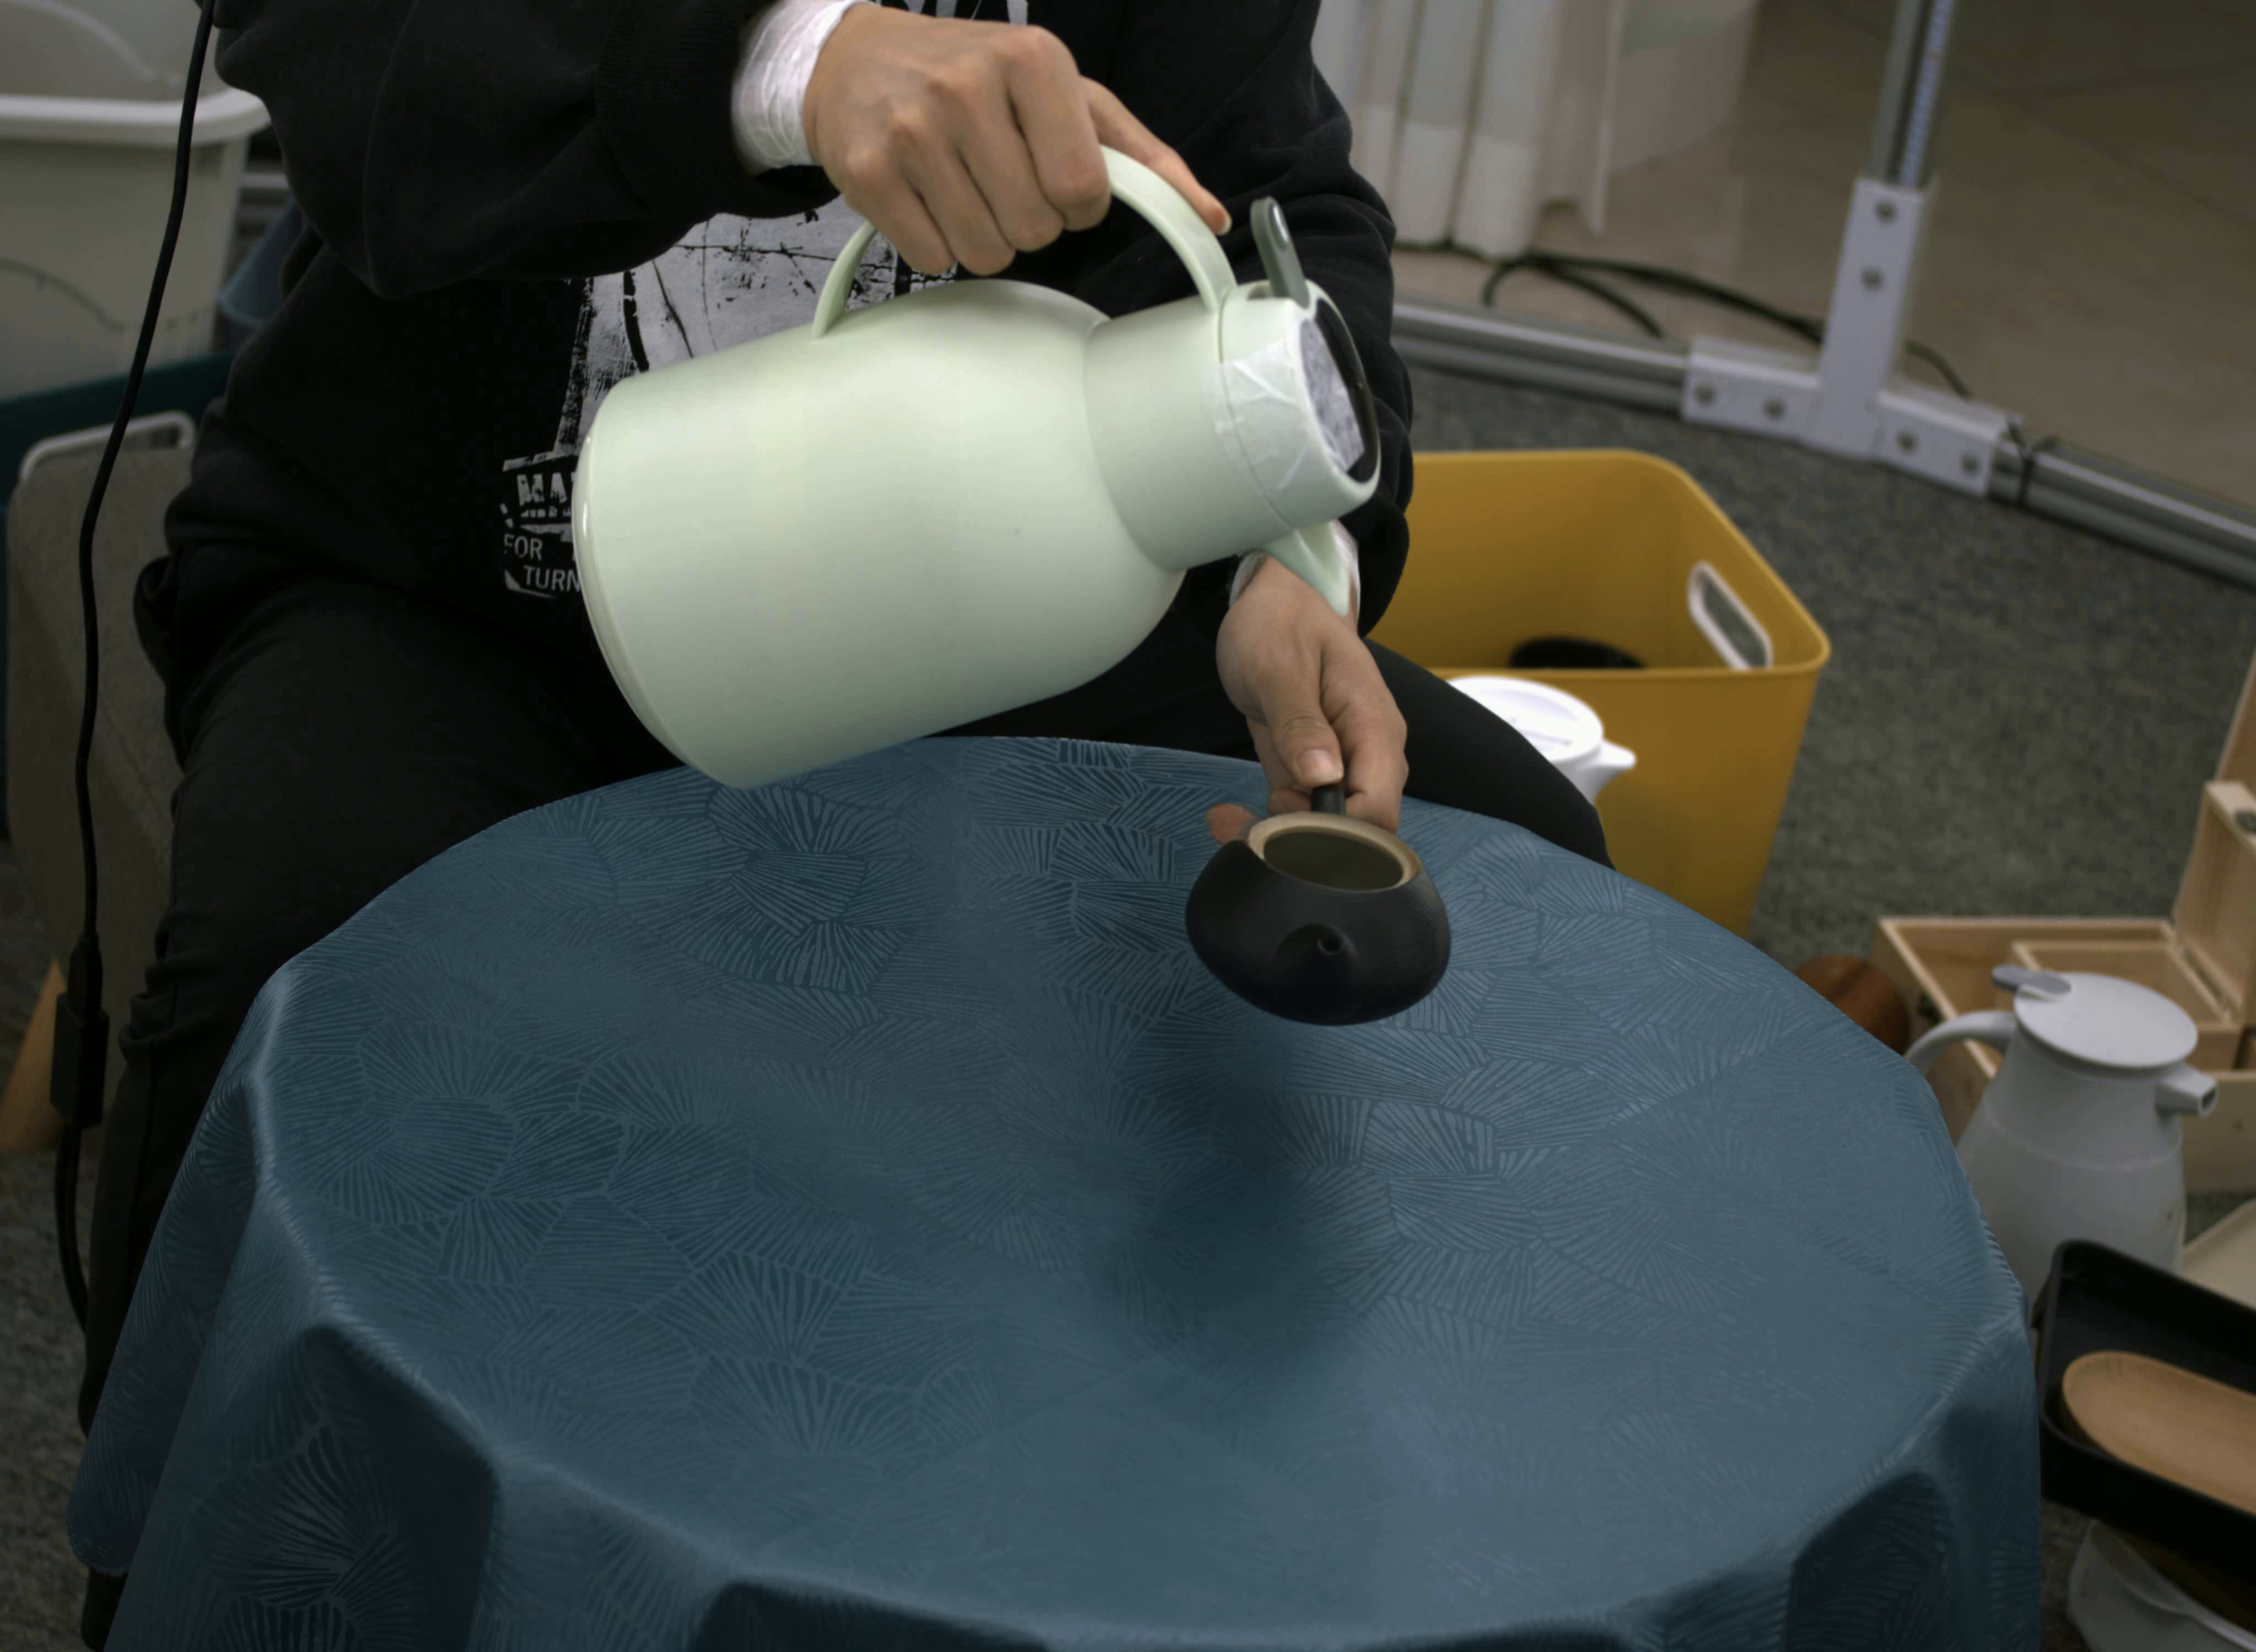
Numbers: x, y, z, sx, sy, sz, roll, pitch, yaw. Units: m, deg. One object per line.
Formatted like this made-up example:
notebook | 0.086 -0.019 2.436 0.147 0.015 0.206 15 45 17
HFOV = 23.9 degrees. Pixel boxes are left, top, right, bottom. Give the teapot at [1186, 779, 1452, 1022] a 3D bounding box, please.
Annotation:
teapot | 0.065 0.030 1.792 0.090 0.053 0.134 10 26 -3

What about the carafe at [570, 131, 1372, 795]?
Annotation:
carafe | -0.053 -0.123 1.755 0.257 0.186 0.144 -20 15 23
